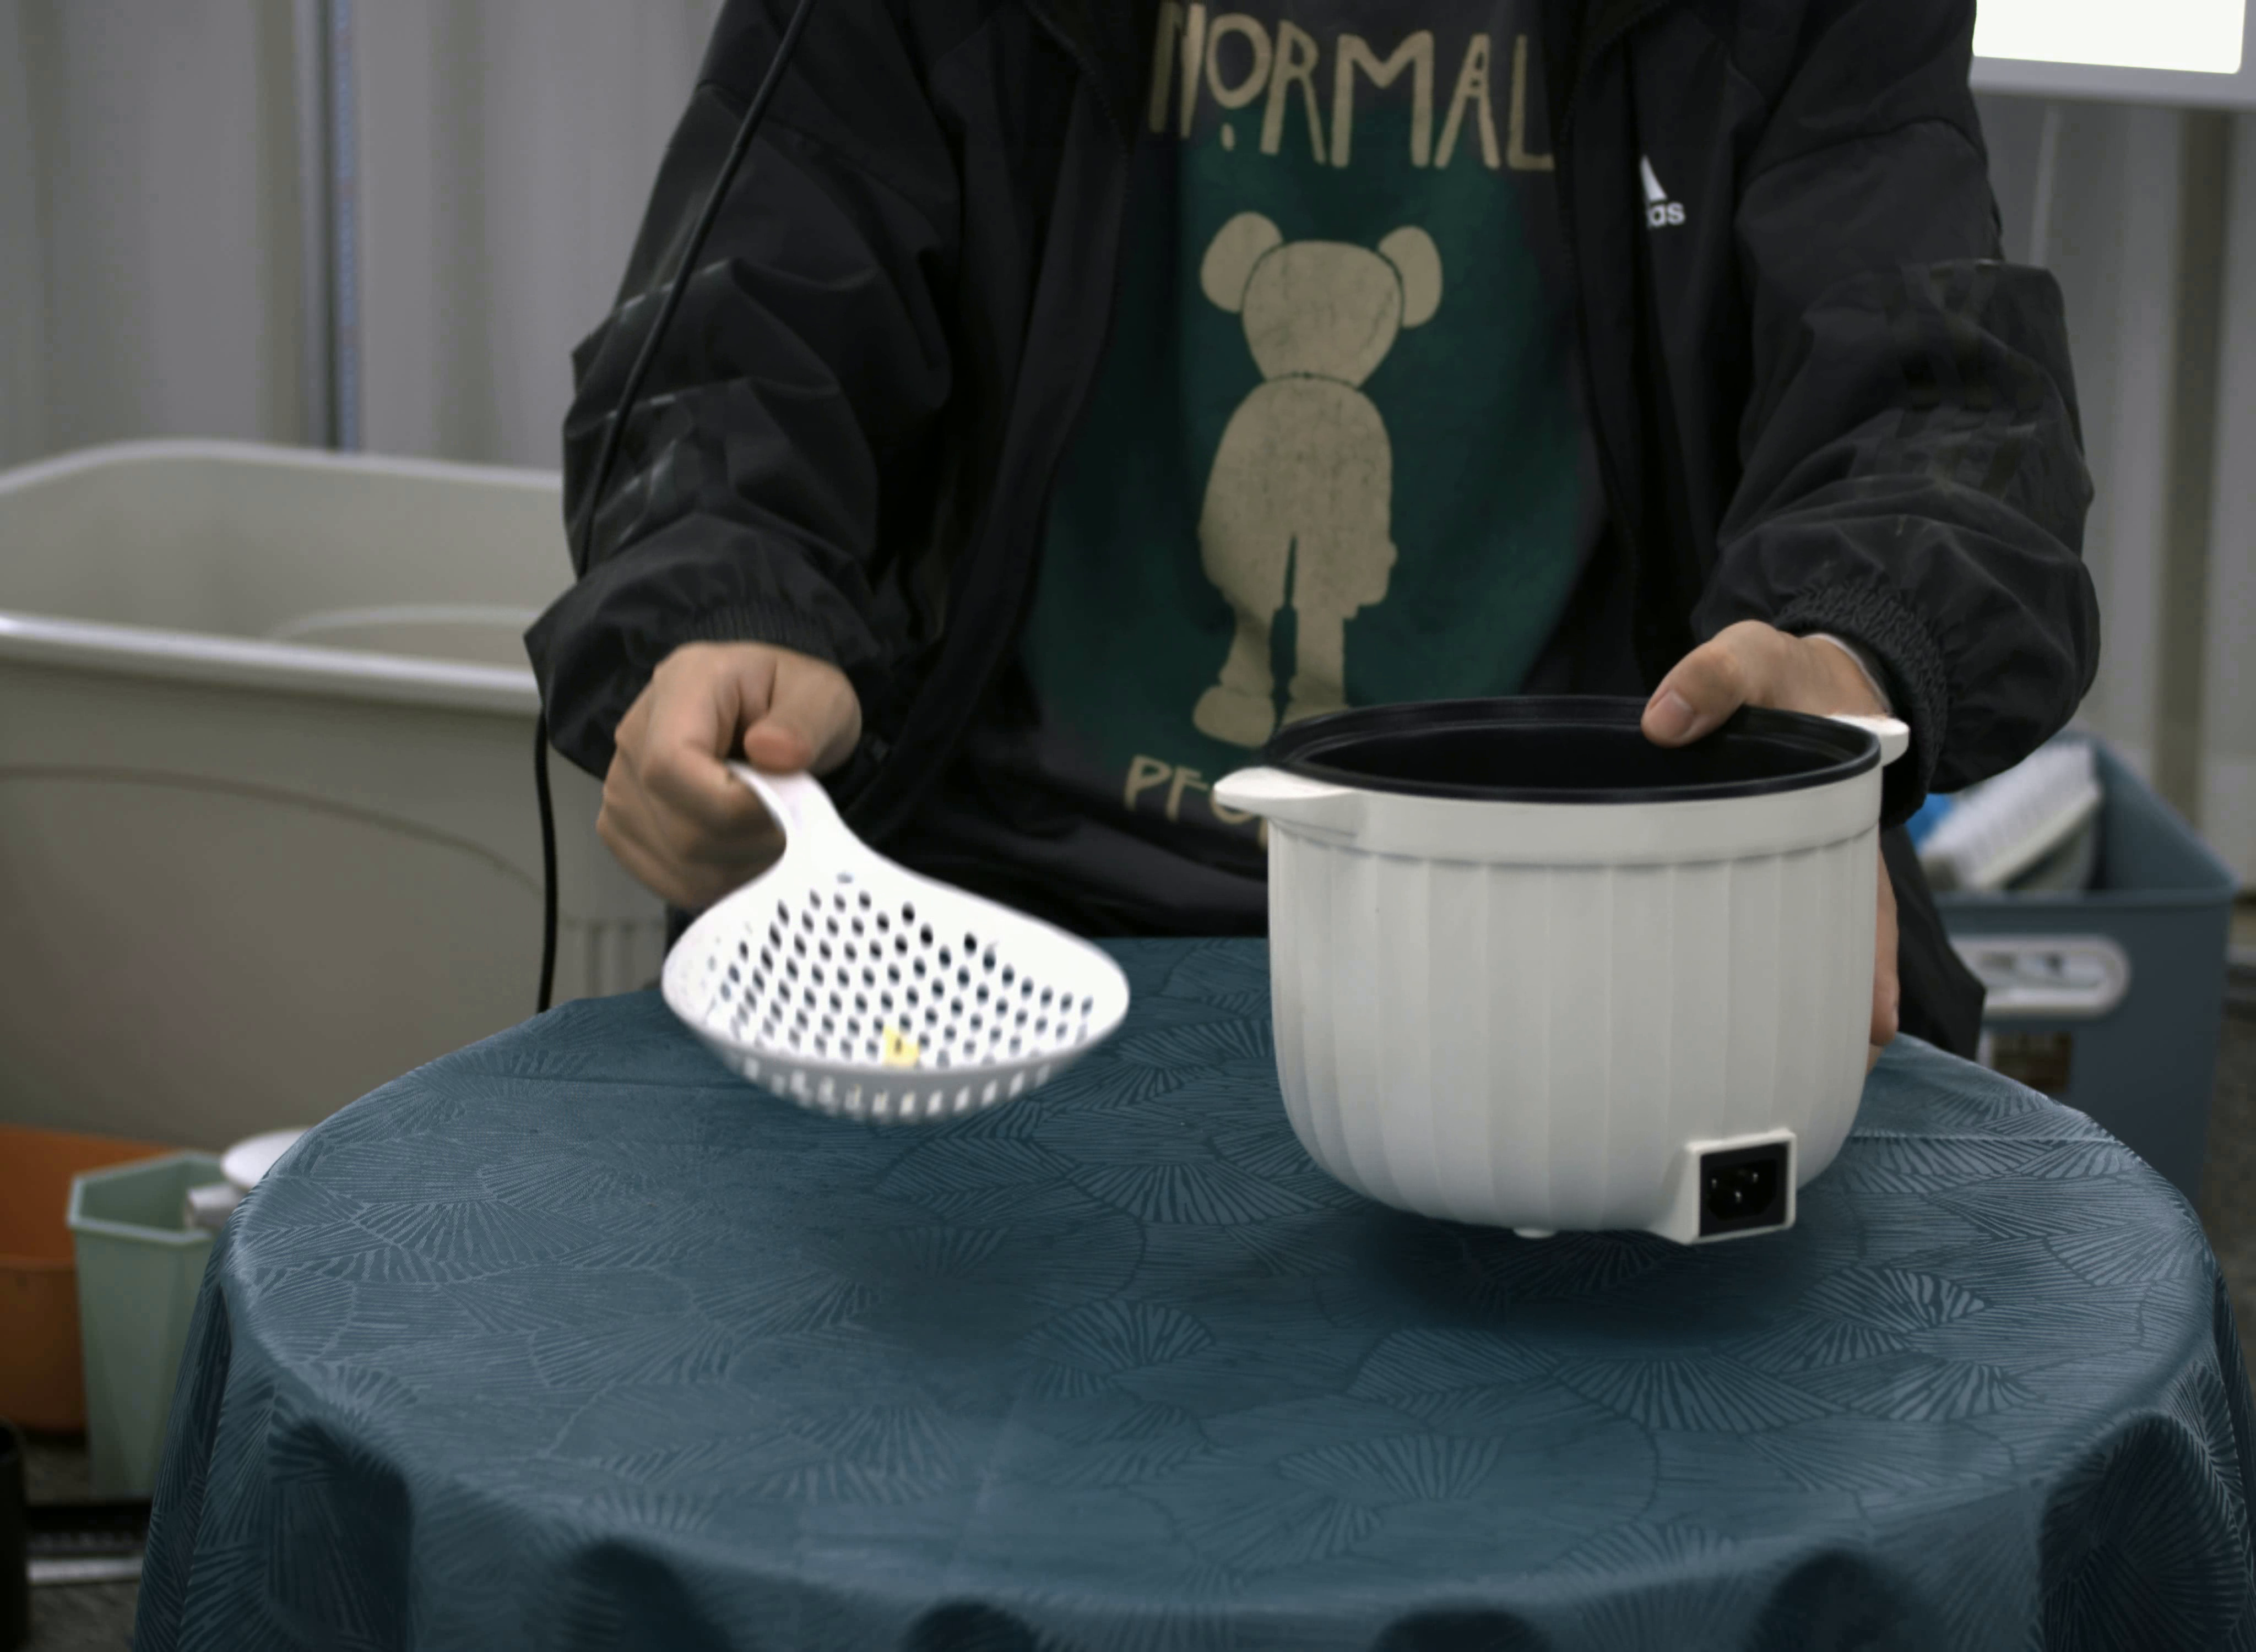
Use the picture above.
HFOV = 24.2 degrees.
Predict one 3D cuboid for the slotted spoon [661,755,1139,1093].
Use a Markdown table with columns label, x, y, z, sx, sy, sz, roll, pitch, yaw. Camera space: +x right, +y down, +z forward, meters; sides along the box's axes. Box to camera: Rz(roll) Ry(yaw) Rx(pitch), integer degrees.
| label | x | y | z | sx | sy | sz | roll | pitch | yaw |
| --- | --- | --- | --- | --- | --- | --- | --- | --- | --- |
| slotted spoon | -0.092 | 0.016 | 1.615 | 0.137 | 0.051 | 0.344 | -3 | 21 | -14 |

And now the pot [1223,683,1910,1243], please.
| label | x | y | z | sx | sy | sz | roll | pitch | yaw |
| --- | --- | --- | --- | --- | --- | --- | --- | --- | --- |
| pot | 0.127 | 0.038 | 1.559 | 0.241 | 0.143 | 0.188 | -5 | 15 | -31 |
